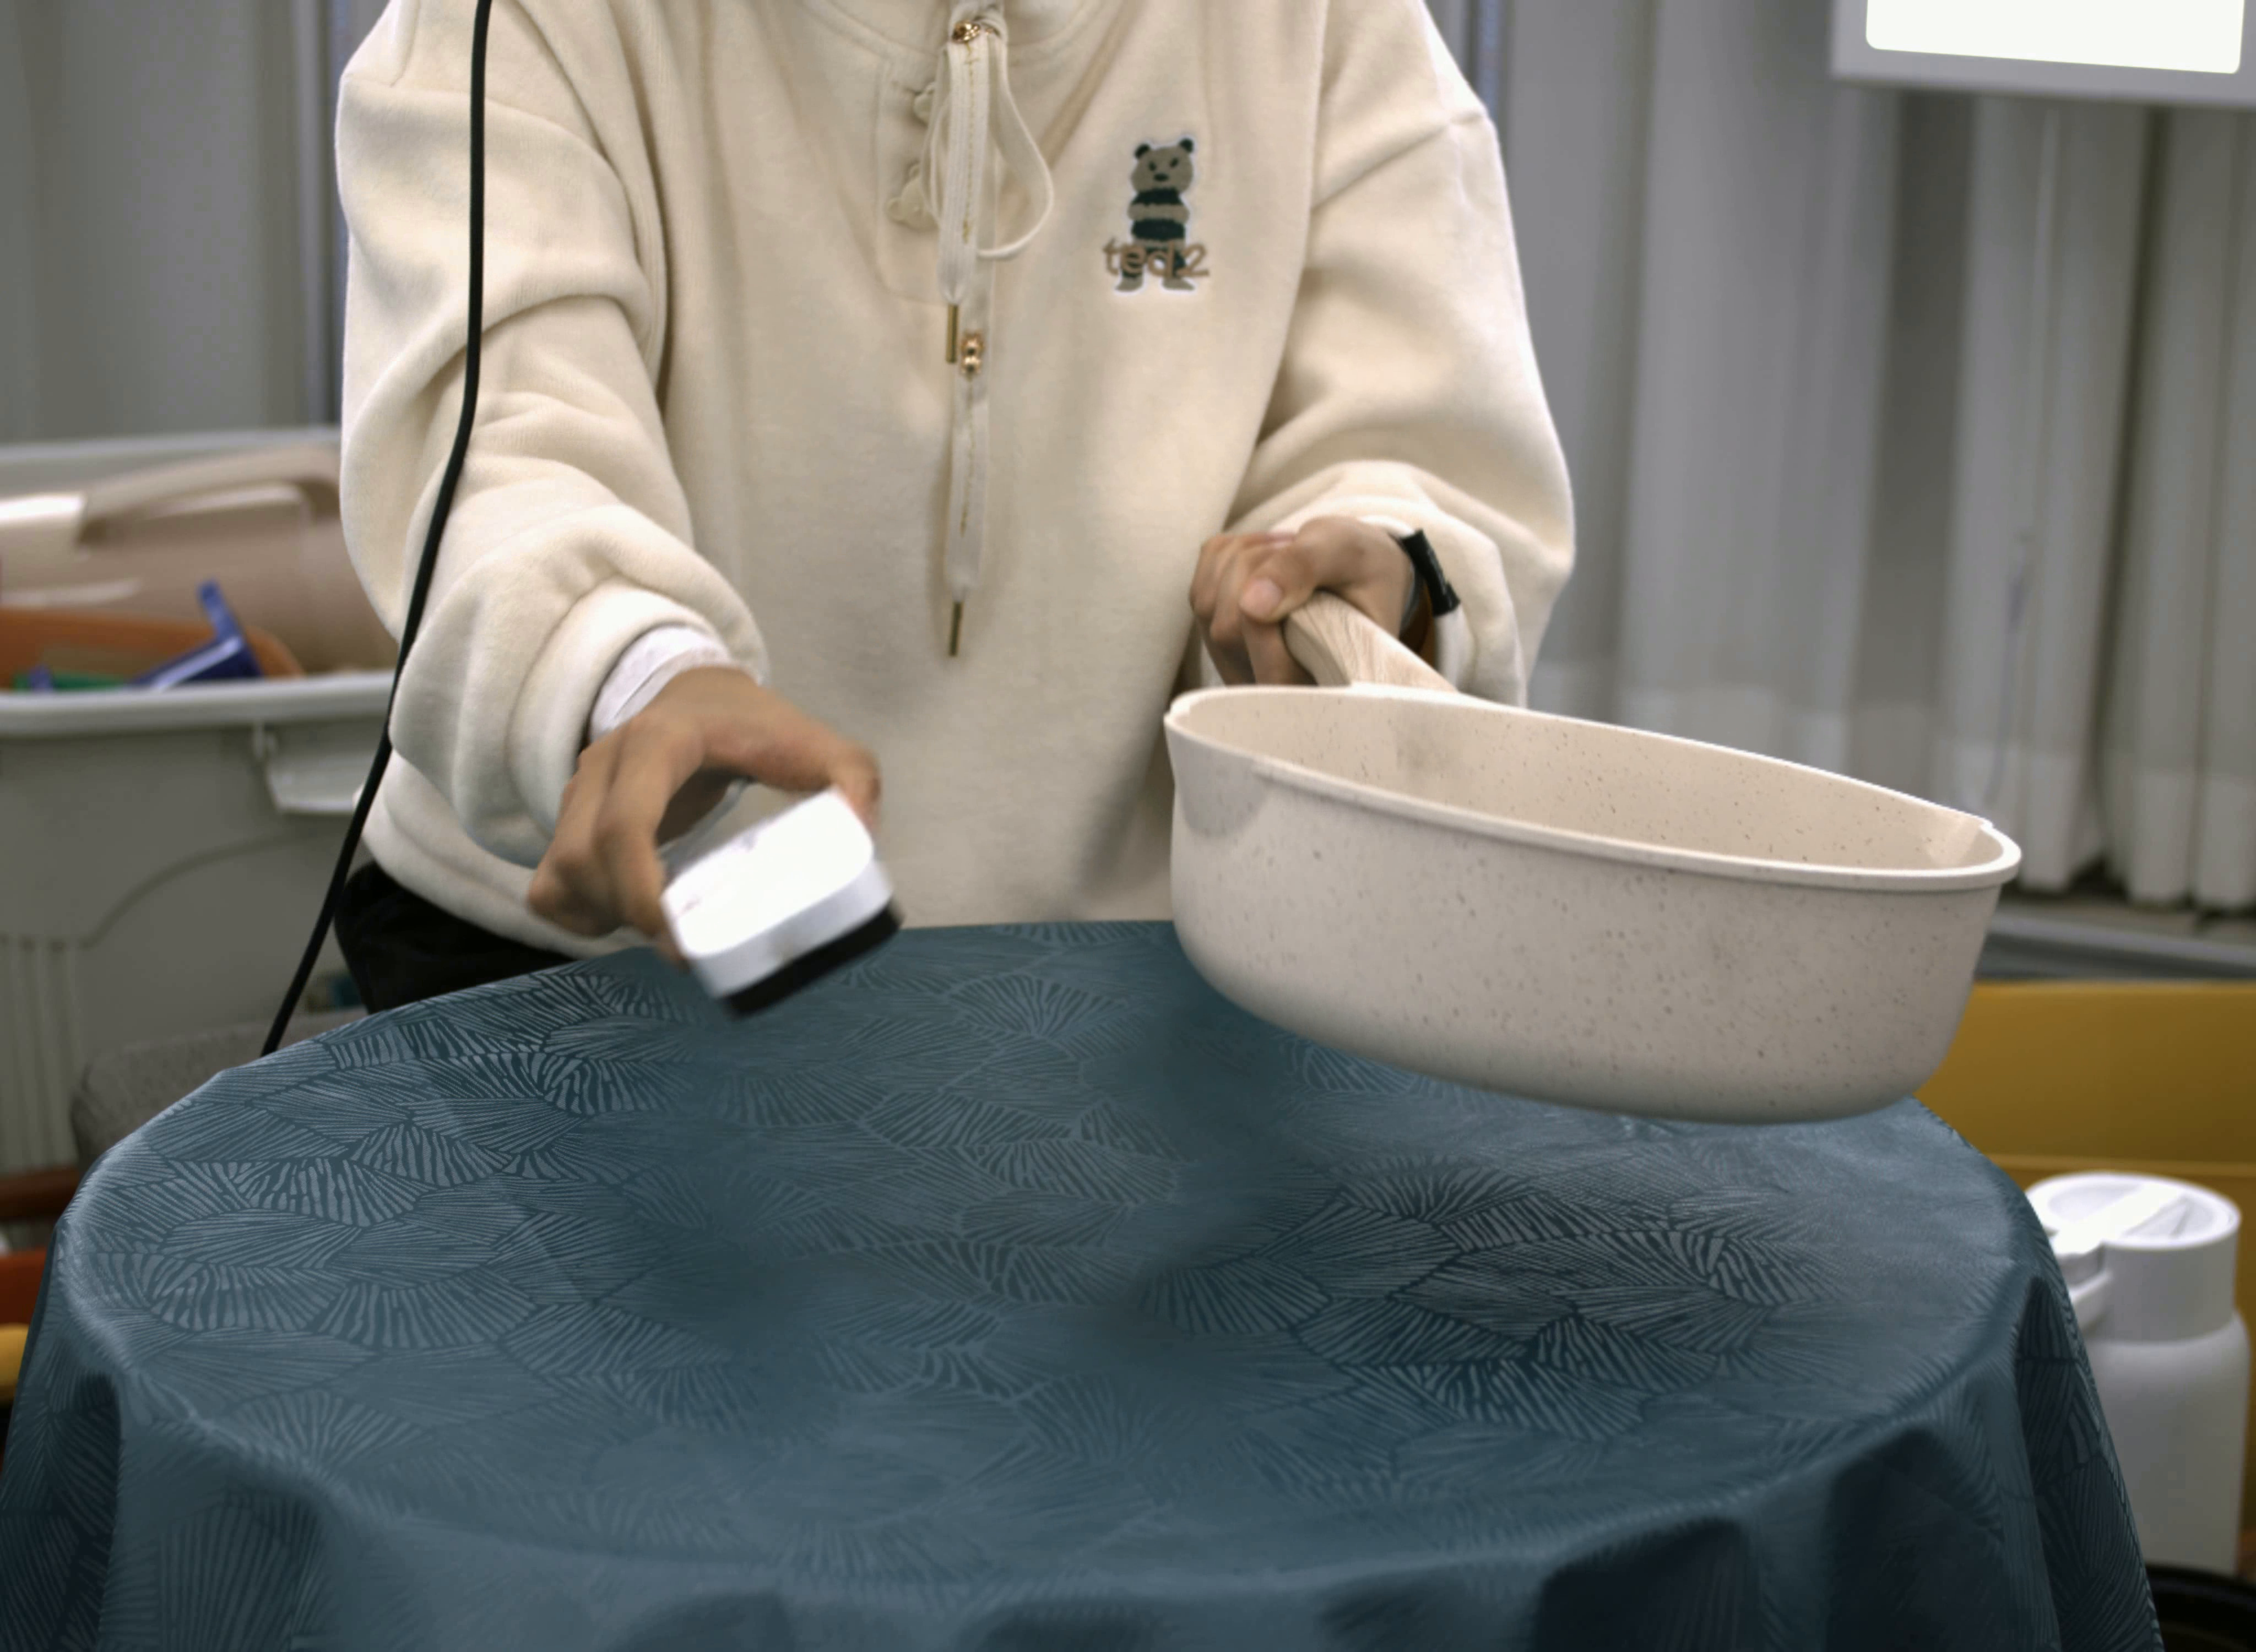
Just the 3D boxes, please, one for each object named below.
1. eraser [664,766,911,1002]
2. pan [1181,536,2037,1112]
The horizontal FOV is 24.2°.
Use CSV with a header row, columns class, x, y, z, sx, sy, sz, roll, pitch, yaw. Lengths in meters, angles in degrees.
class,x,y,z,sx,sy,sz,roll,pitch,yaw
eraser,-0.099,0.015,1.528,0.063,0.035,0.130,-28,13,-4
pan,0.103,-0.005,1.620,0.264,0.102,0.430,5,10,-22
